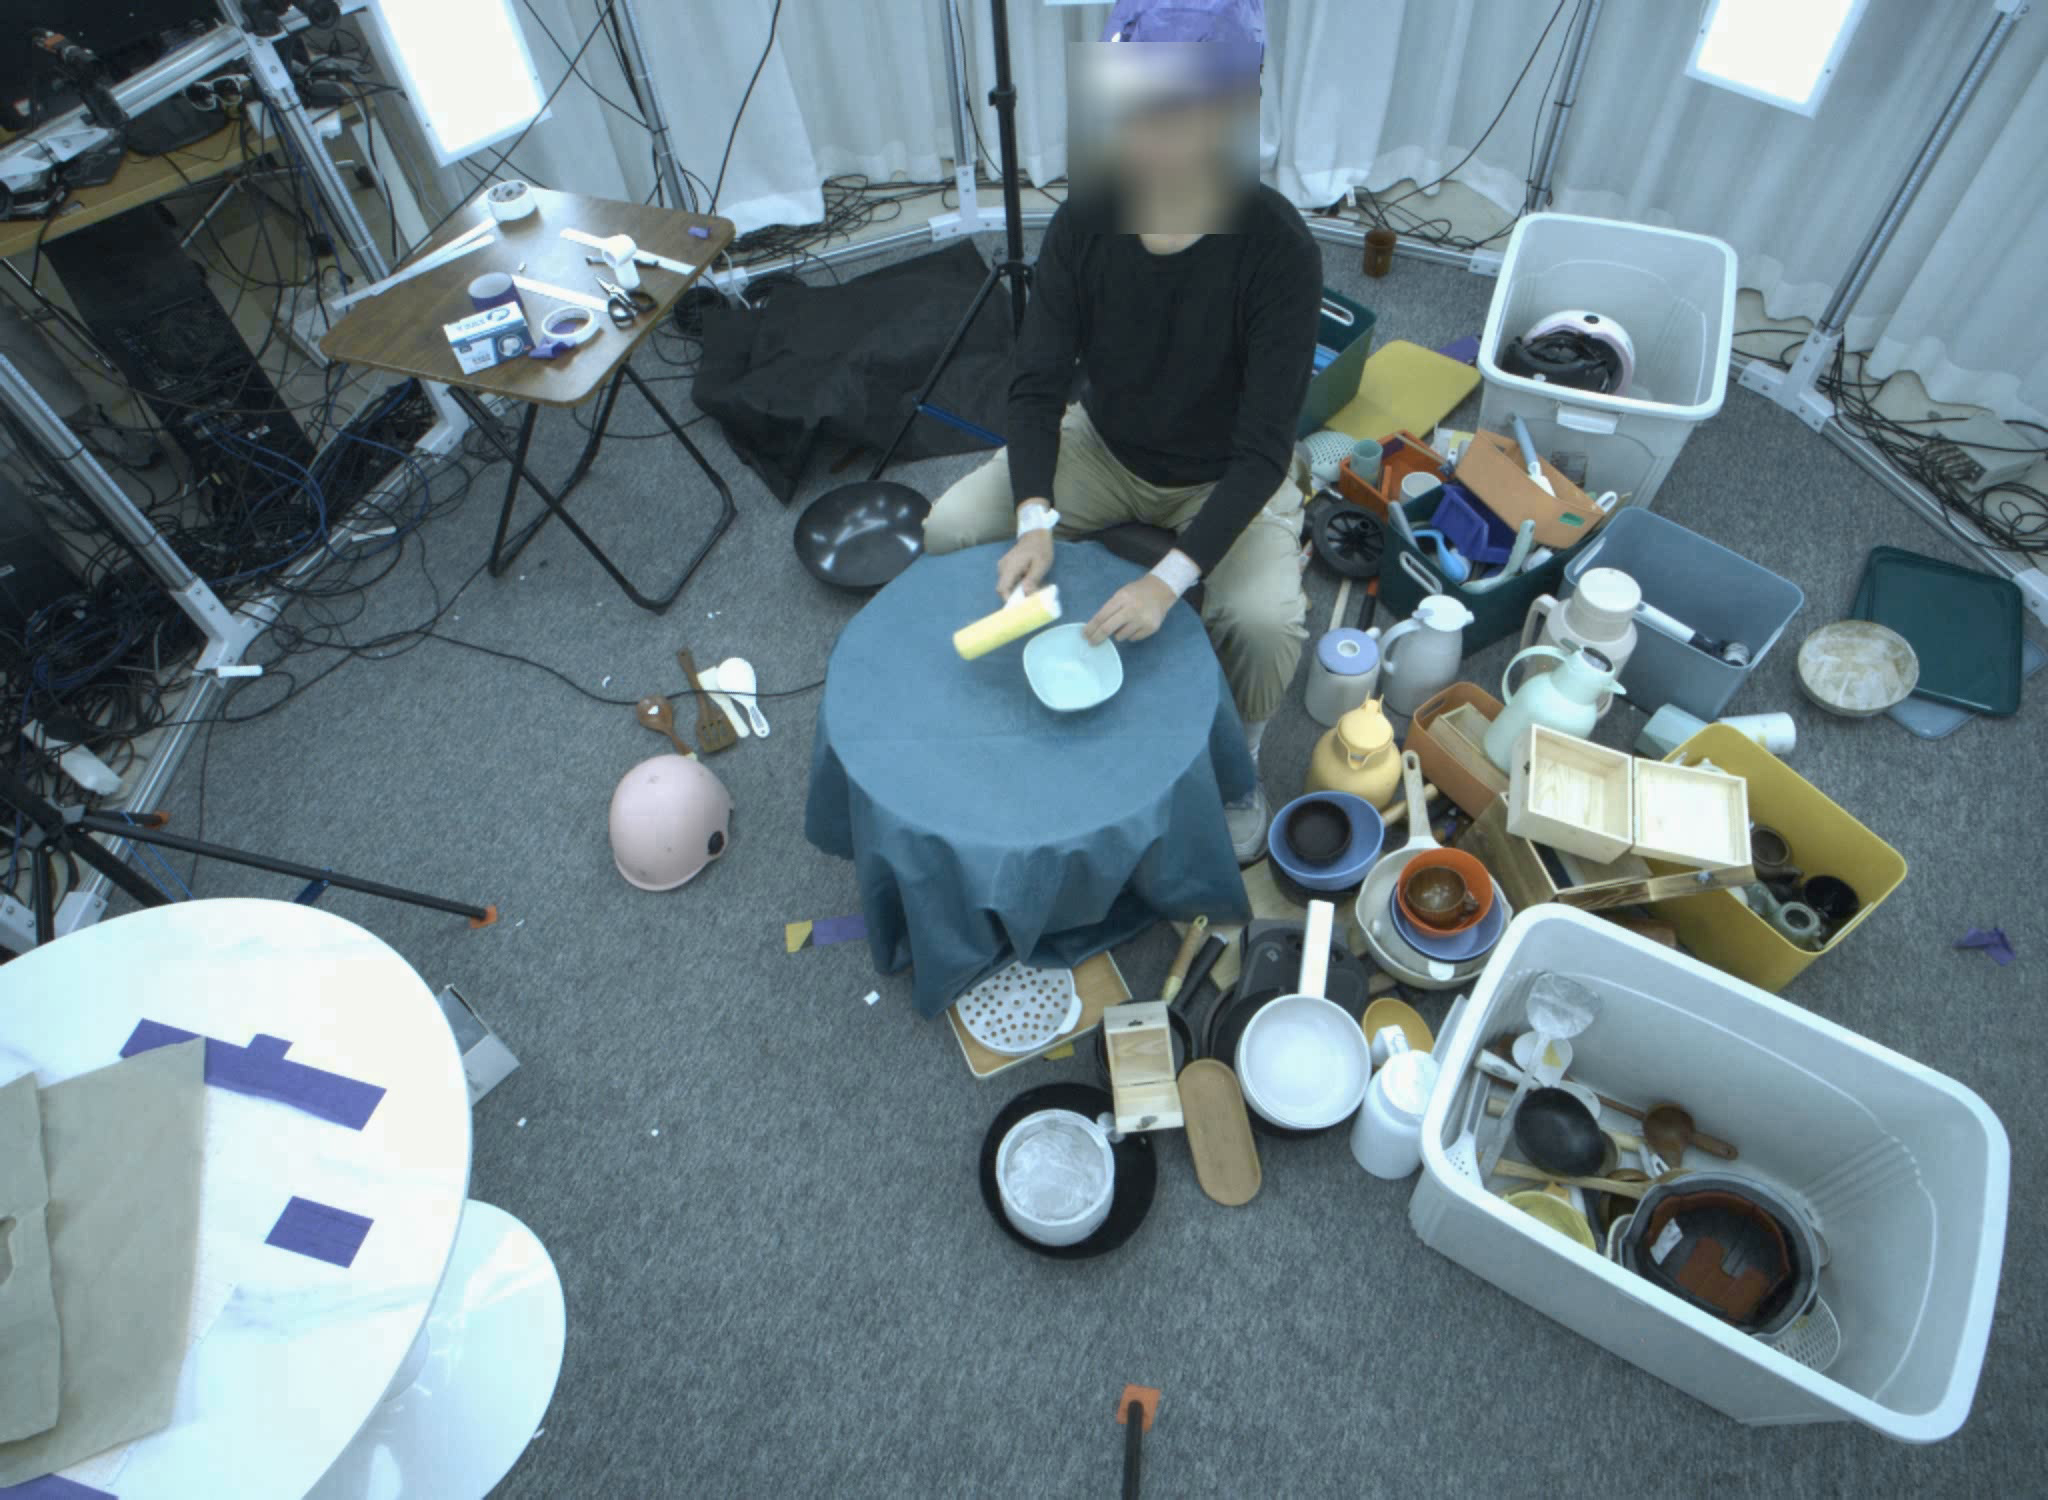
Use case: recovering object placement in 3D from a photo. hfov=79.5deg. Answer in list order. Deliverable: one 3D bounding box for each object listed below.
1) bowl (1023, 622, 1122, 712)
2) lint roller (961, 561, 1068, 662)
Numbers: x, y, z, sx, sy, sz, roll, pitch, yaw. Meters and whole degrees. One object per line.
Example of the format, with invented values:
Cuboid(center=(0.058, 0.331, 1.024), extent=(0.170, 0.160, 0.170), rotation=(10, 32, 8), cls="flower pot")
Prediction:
Cuboid(center=(0.070, -0.114, 1.821), extent=(0.152, 0.059, 0.150), rotation=(2, 67, -3), cls="bowl")
Cuboid(center=(-0.015, -0.234, 1.849), extent=(0.172, 0.052, 0.190), rotation=(-26, 41, 25), cls="lint roller")
